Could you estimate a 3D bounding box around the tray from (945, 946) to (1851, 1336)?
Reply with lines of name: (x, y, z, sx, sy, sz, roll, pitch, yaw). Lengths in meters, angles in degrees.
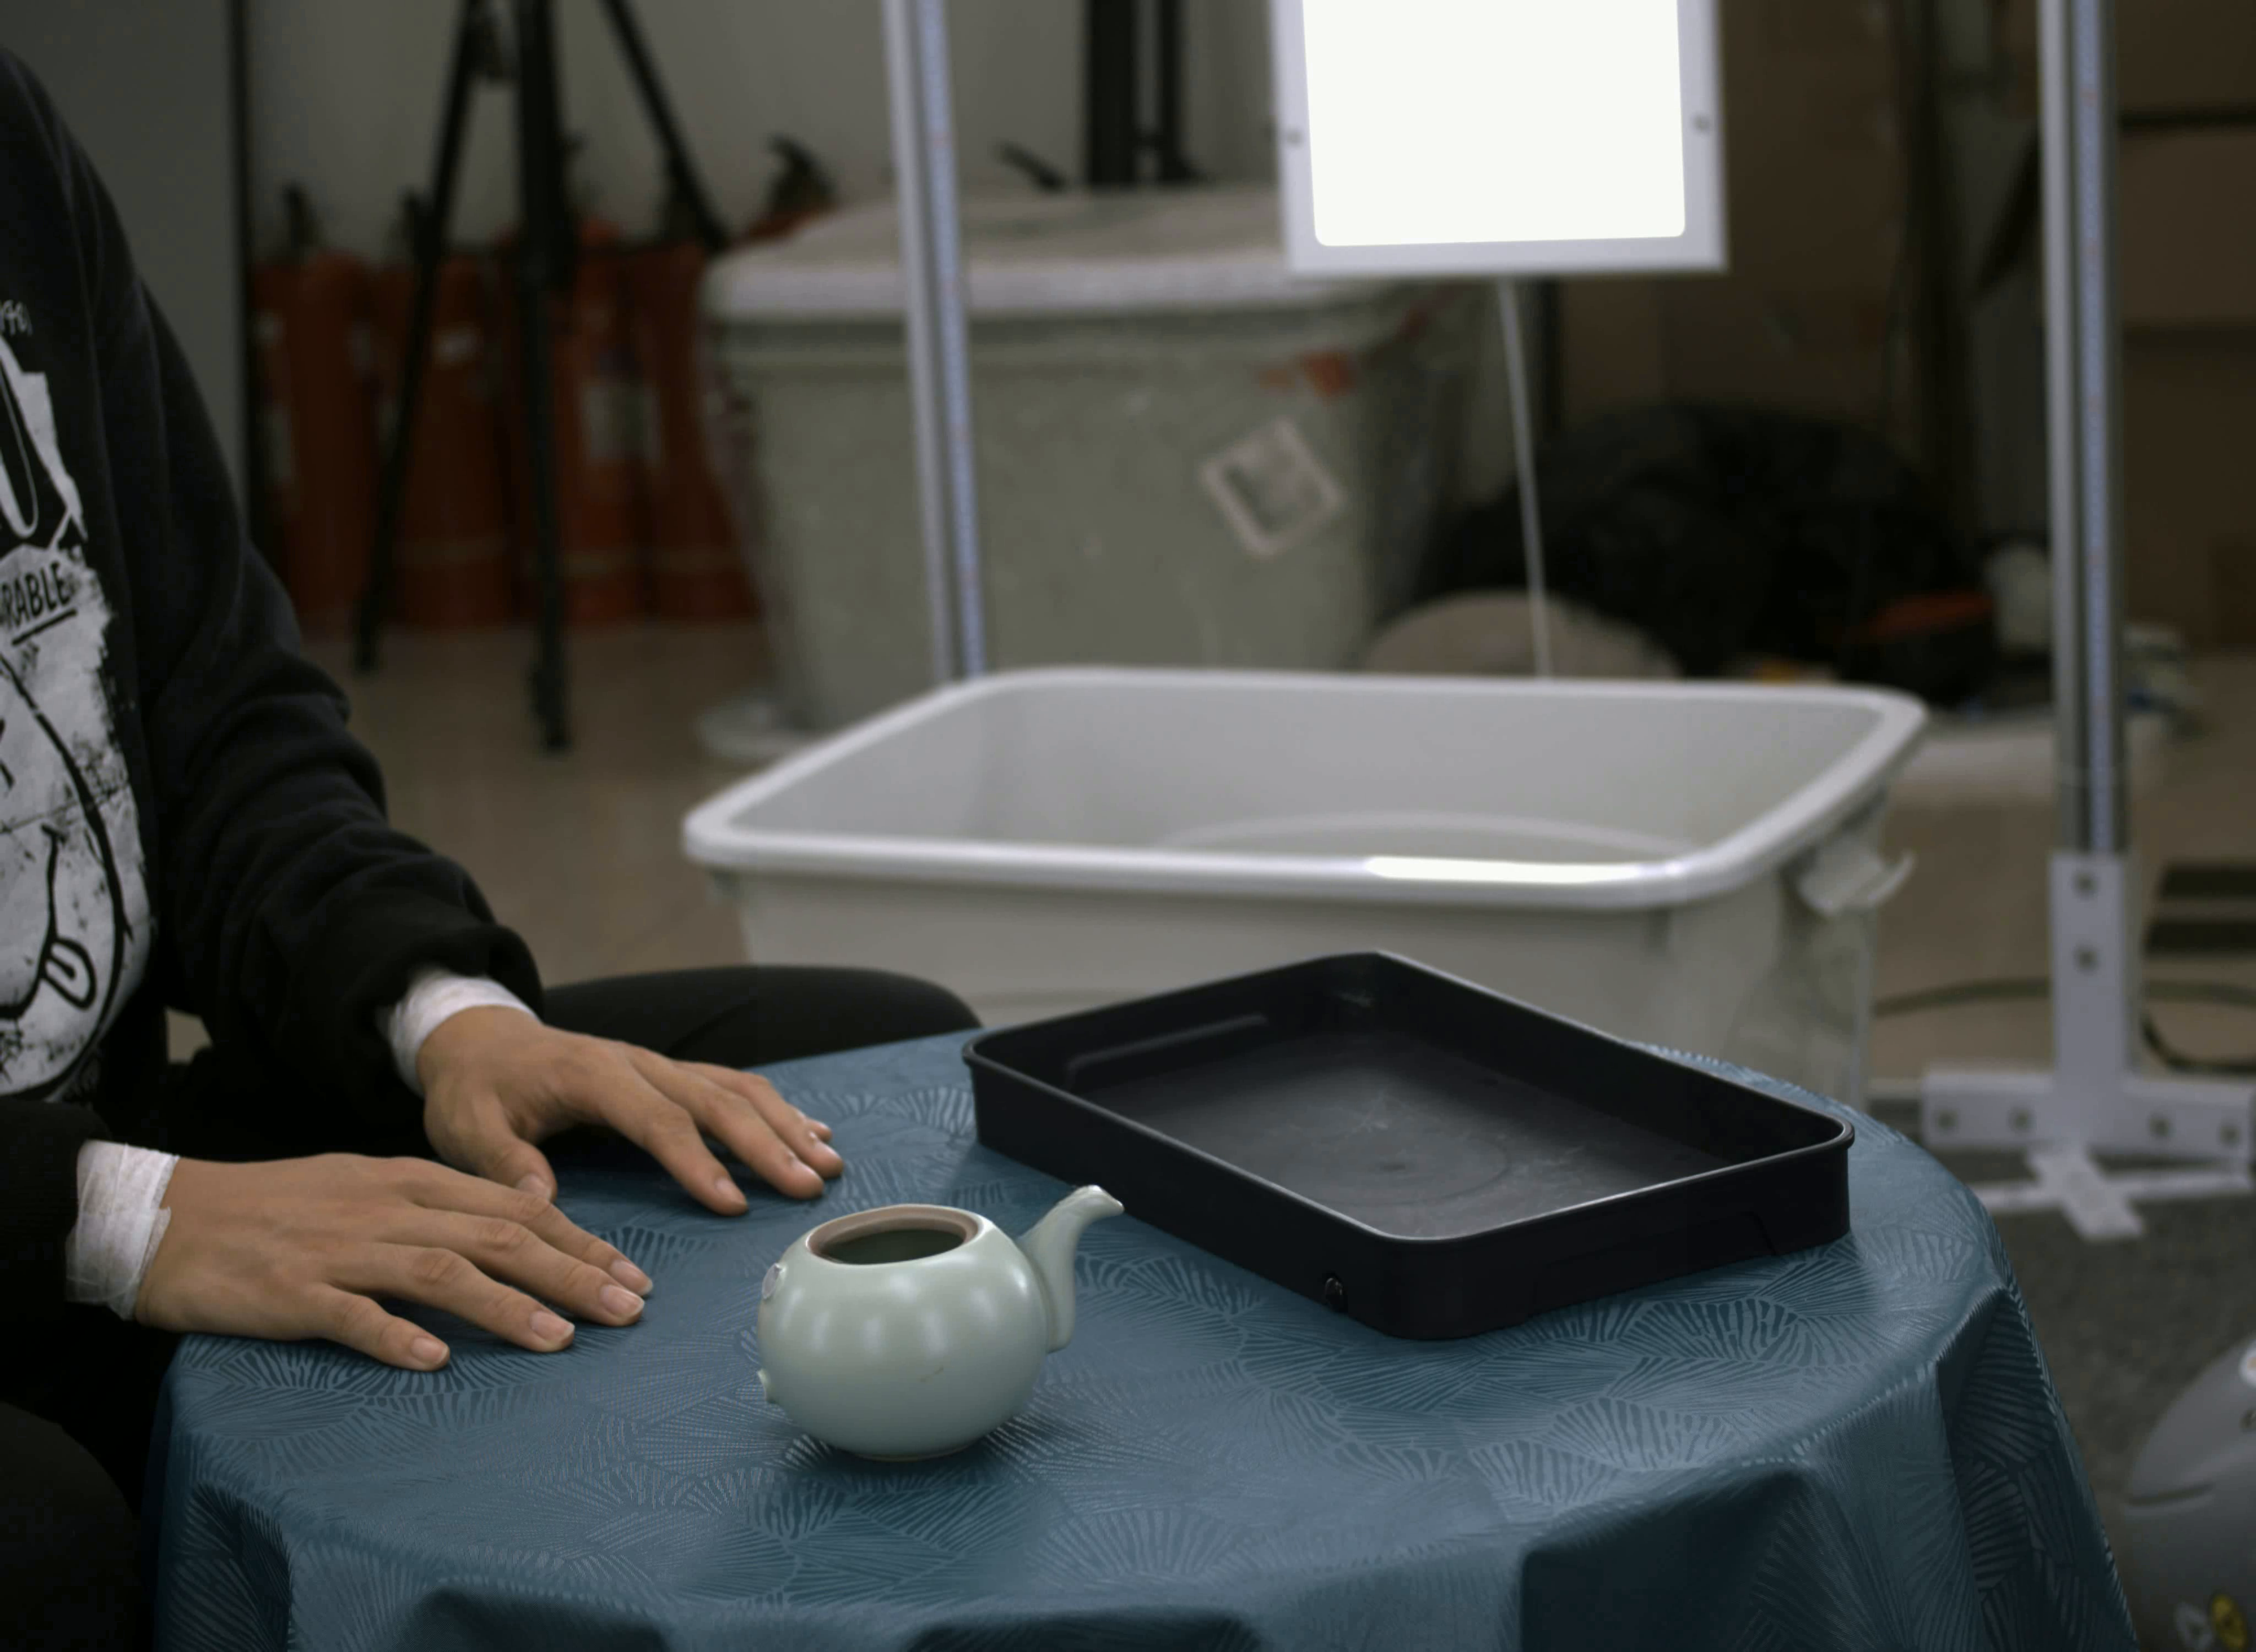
tray: (0.088, 0.103, 1.887, 0.180, 0.037, 0.324, -13, 16, -28)

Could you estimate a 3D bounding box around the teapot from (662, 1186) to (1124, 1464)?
teapot: (-0.069, 0.152, 1.670, 0.142, 0.075, 0.089, -5, 13, -8)
